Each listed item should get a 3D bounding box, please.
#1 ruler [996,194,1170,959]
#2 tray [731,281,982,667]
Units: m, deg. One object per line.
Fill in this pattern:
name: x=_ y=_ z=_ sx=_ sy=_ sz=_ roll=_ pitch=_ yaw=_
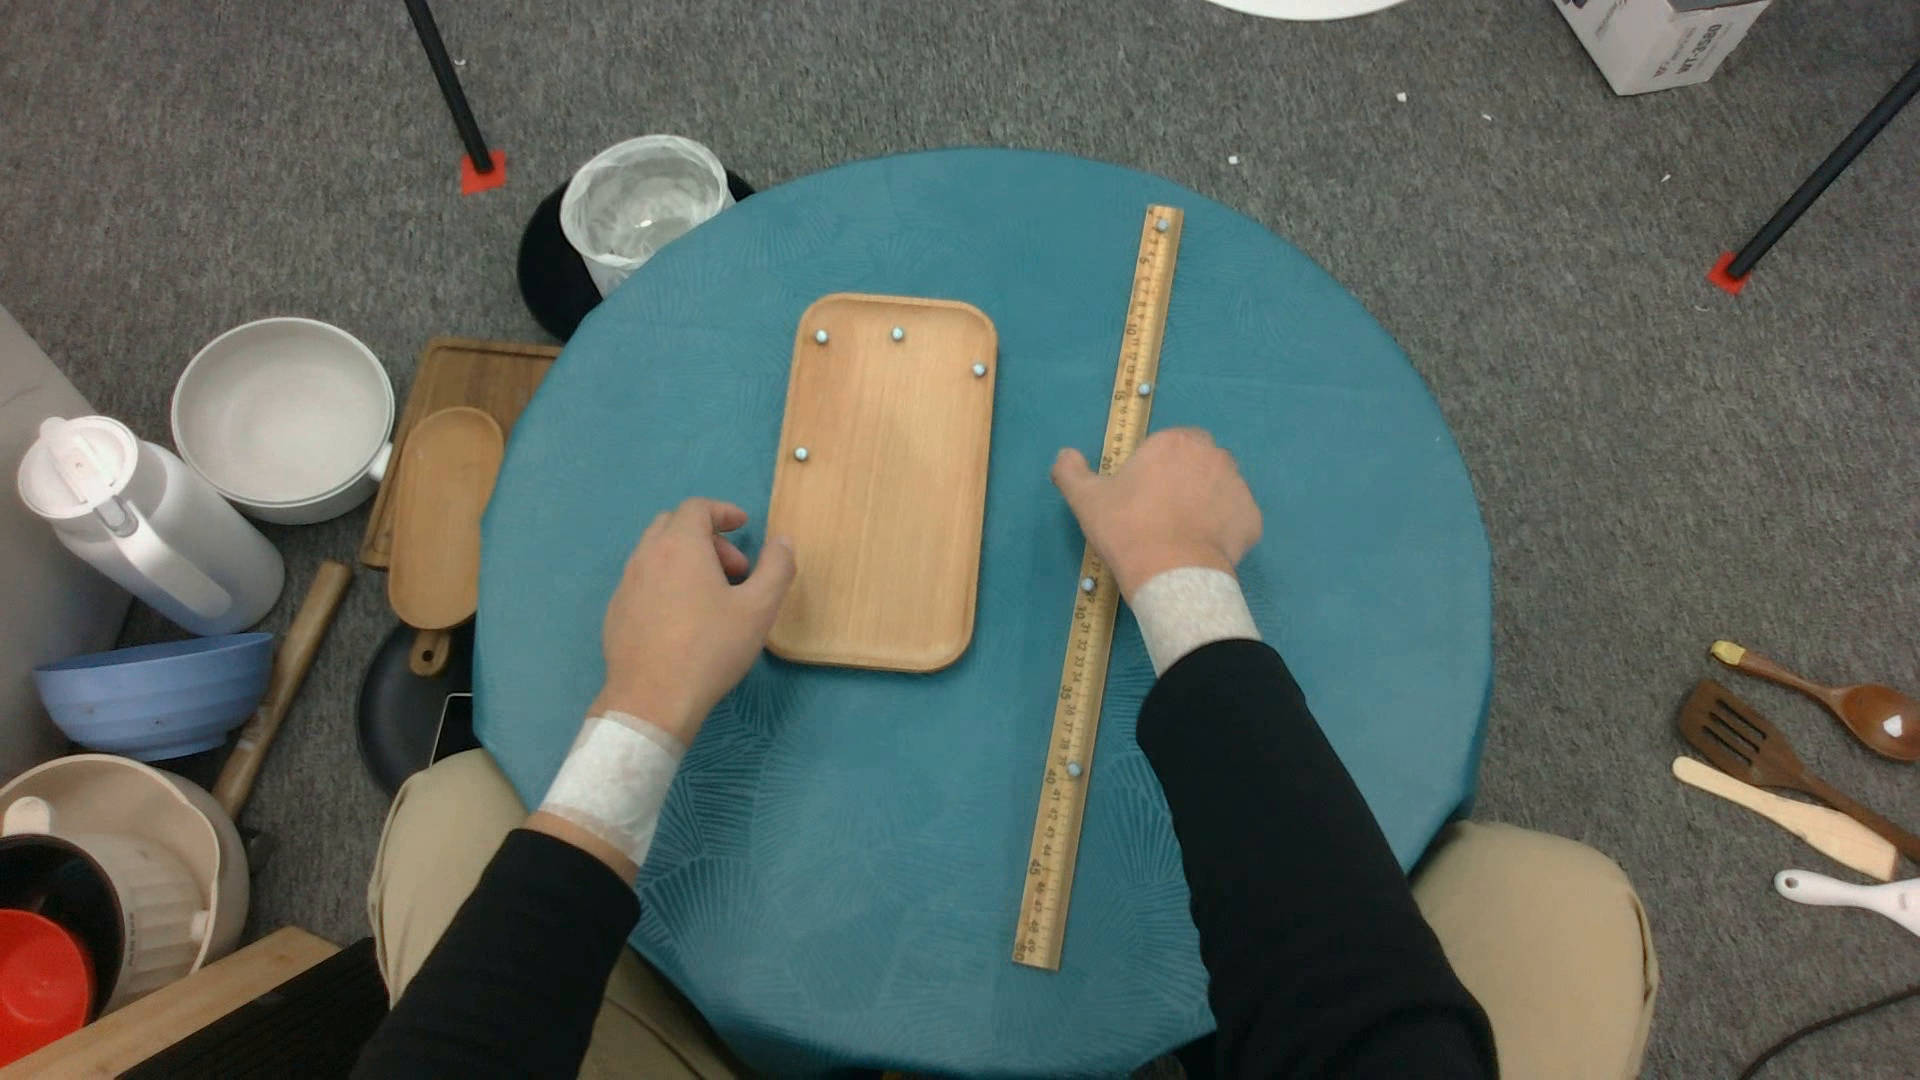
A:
ruler: x=0.079 y=-0.007 z=0.820 sx=0.027 sy=0.006 sz=0.502 roll=9 pitch=66 yaw=7
tray: x=-0.058 y=-0.045 z=0.827 sx=0.130 sy=0.023 sz=0.251 roll=5 pitch=66 yaw=3
